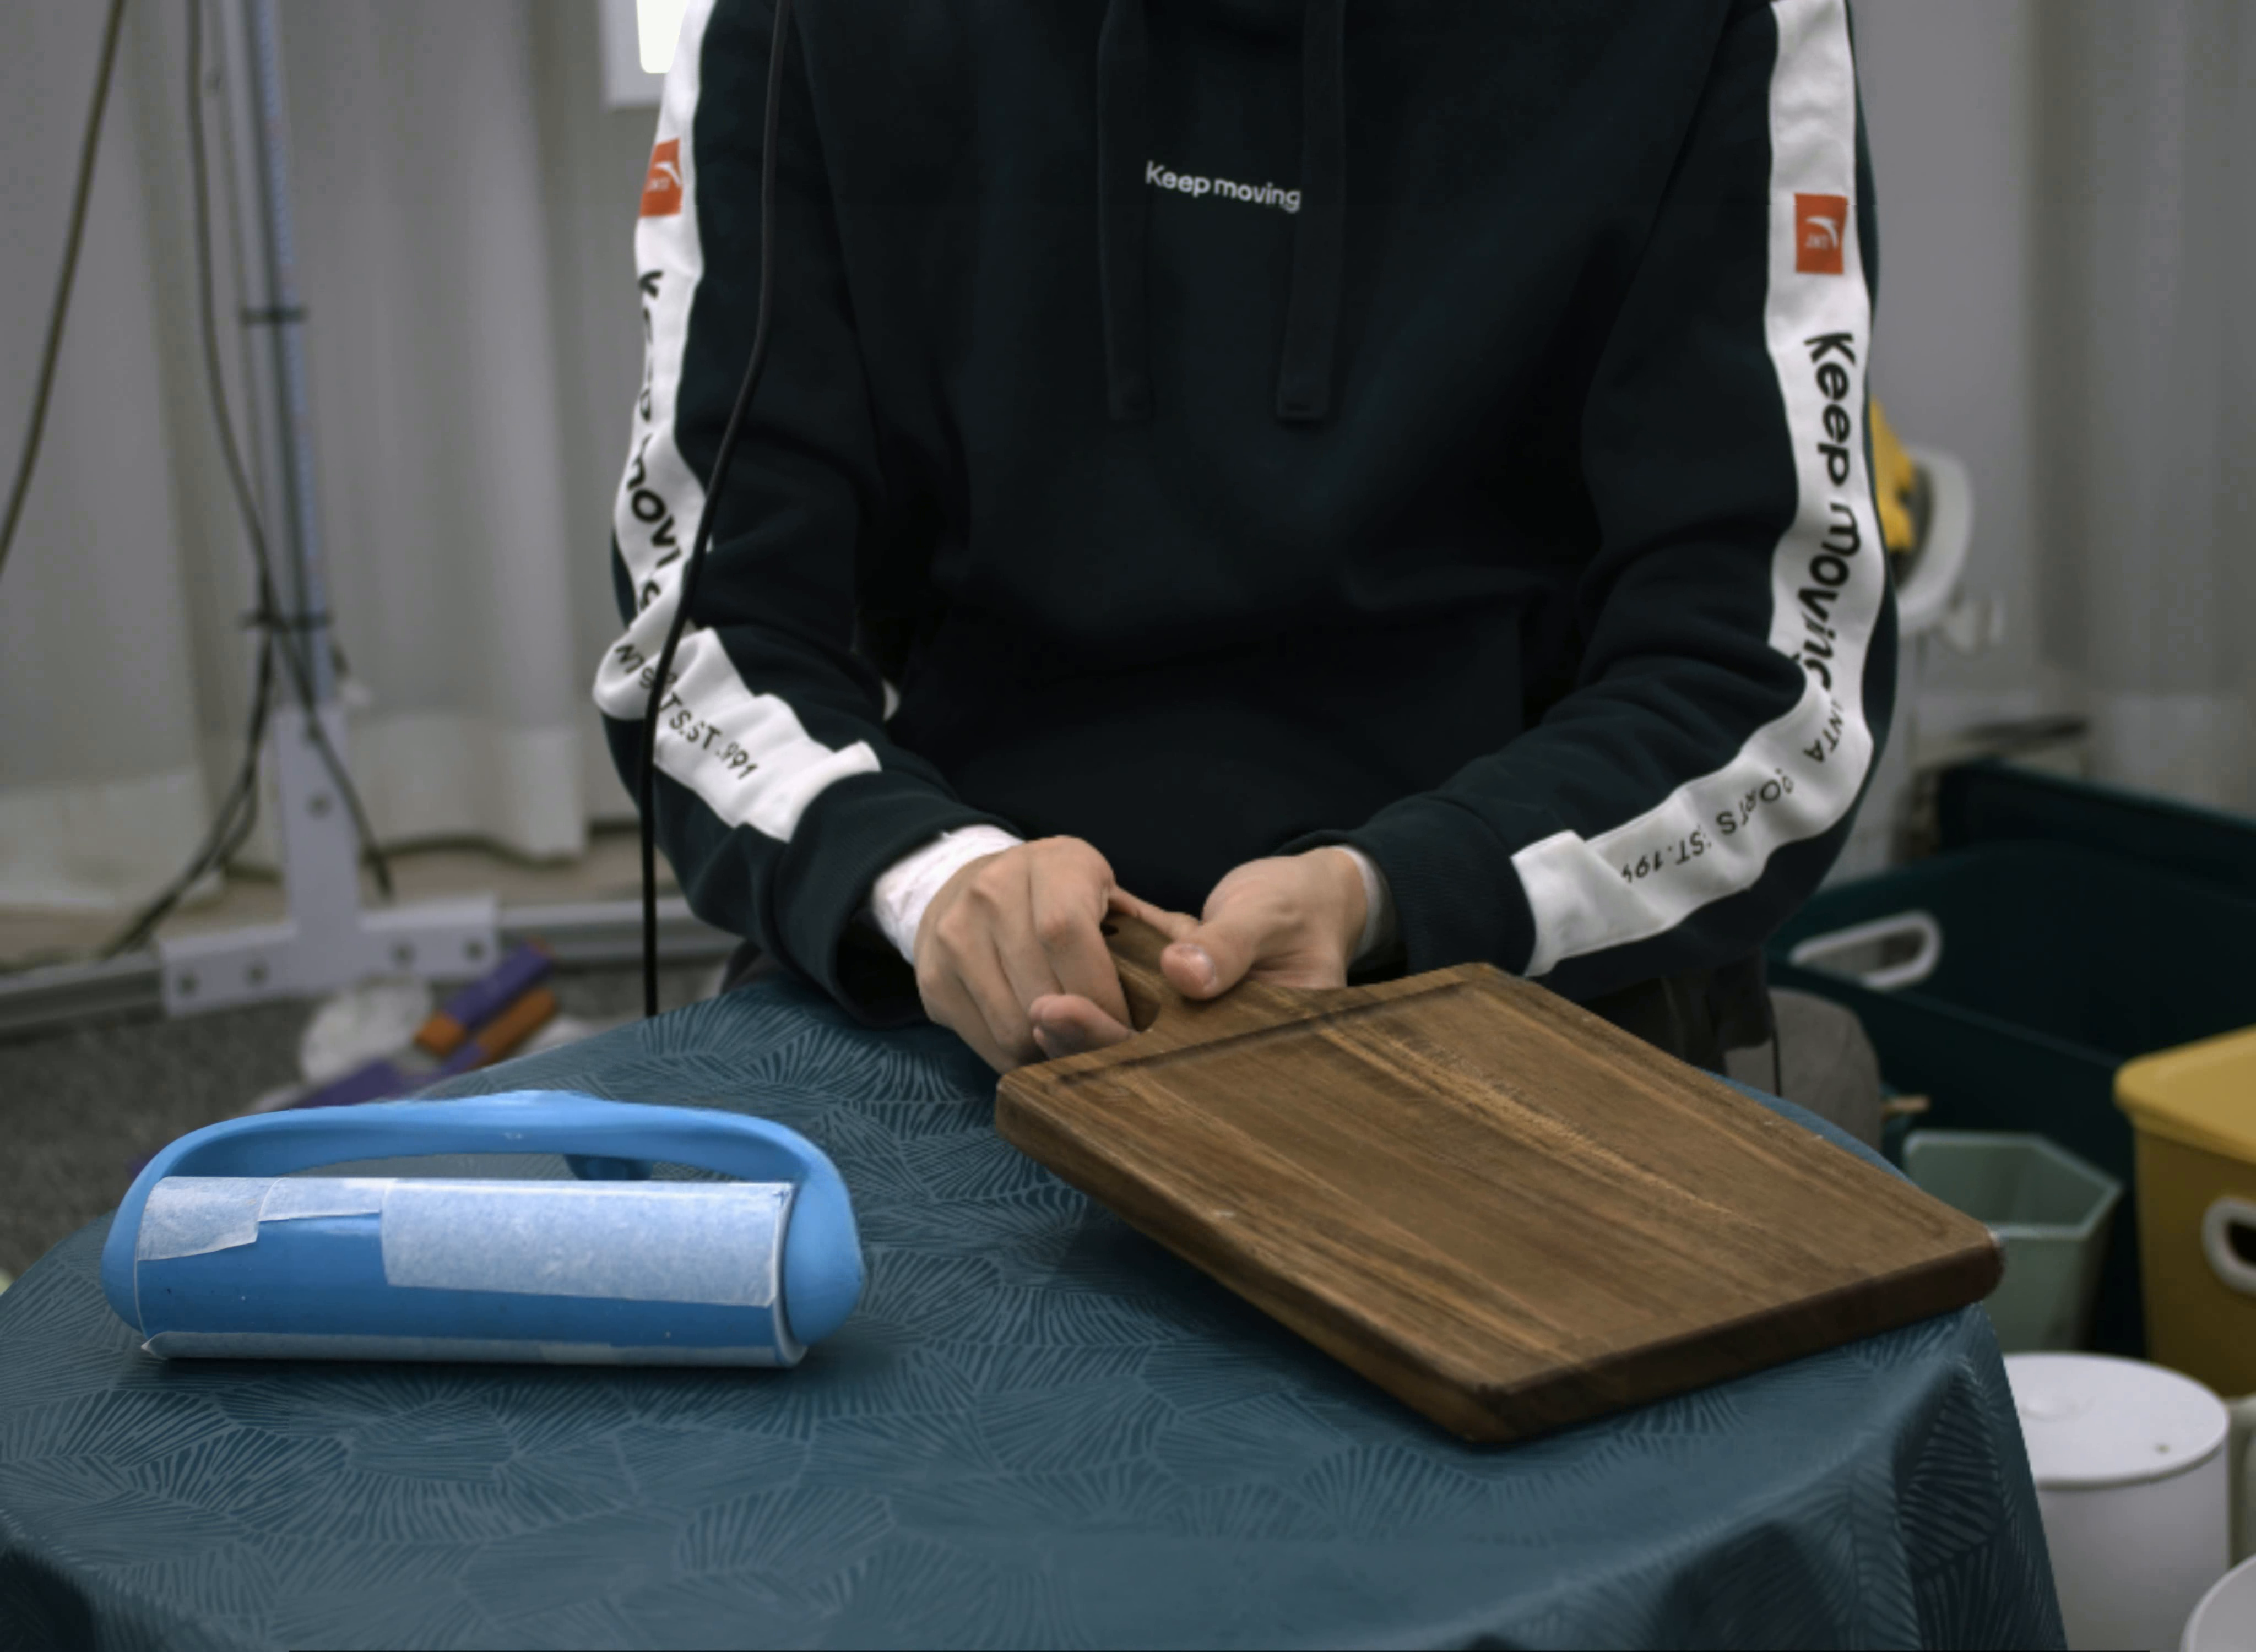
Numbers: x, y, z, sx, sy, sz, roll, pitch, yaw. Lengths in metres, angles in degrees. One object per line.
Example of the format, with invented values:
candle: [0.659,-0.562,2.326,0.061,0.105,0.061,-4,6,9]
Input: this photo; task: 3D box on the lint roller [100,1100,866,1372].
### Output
lint roller: [-0.181,0.113,1.647,0.228,0.067,0.181,-3,16,9]

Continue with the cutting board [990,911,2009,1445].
cutting board: [0.078,0.091,1.661,0.200,0.023,0.355,-12,24,-33]
